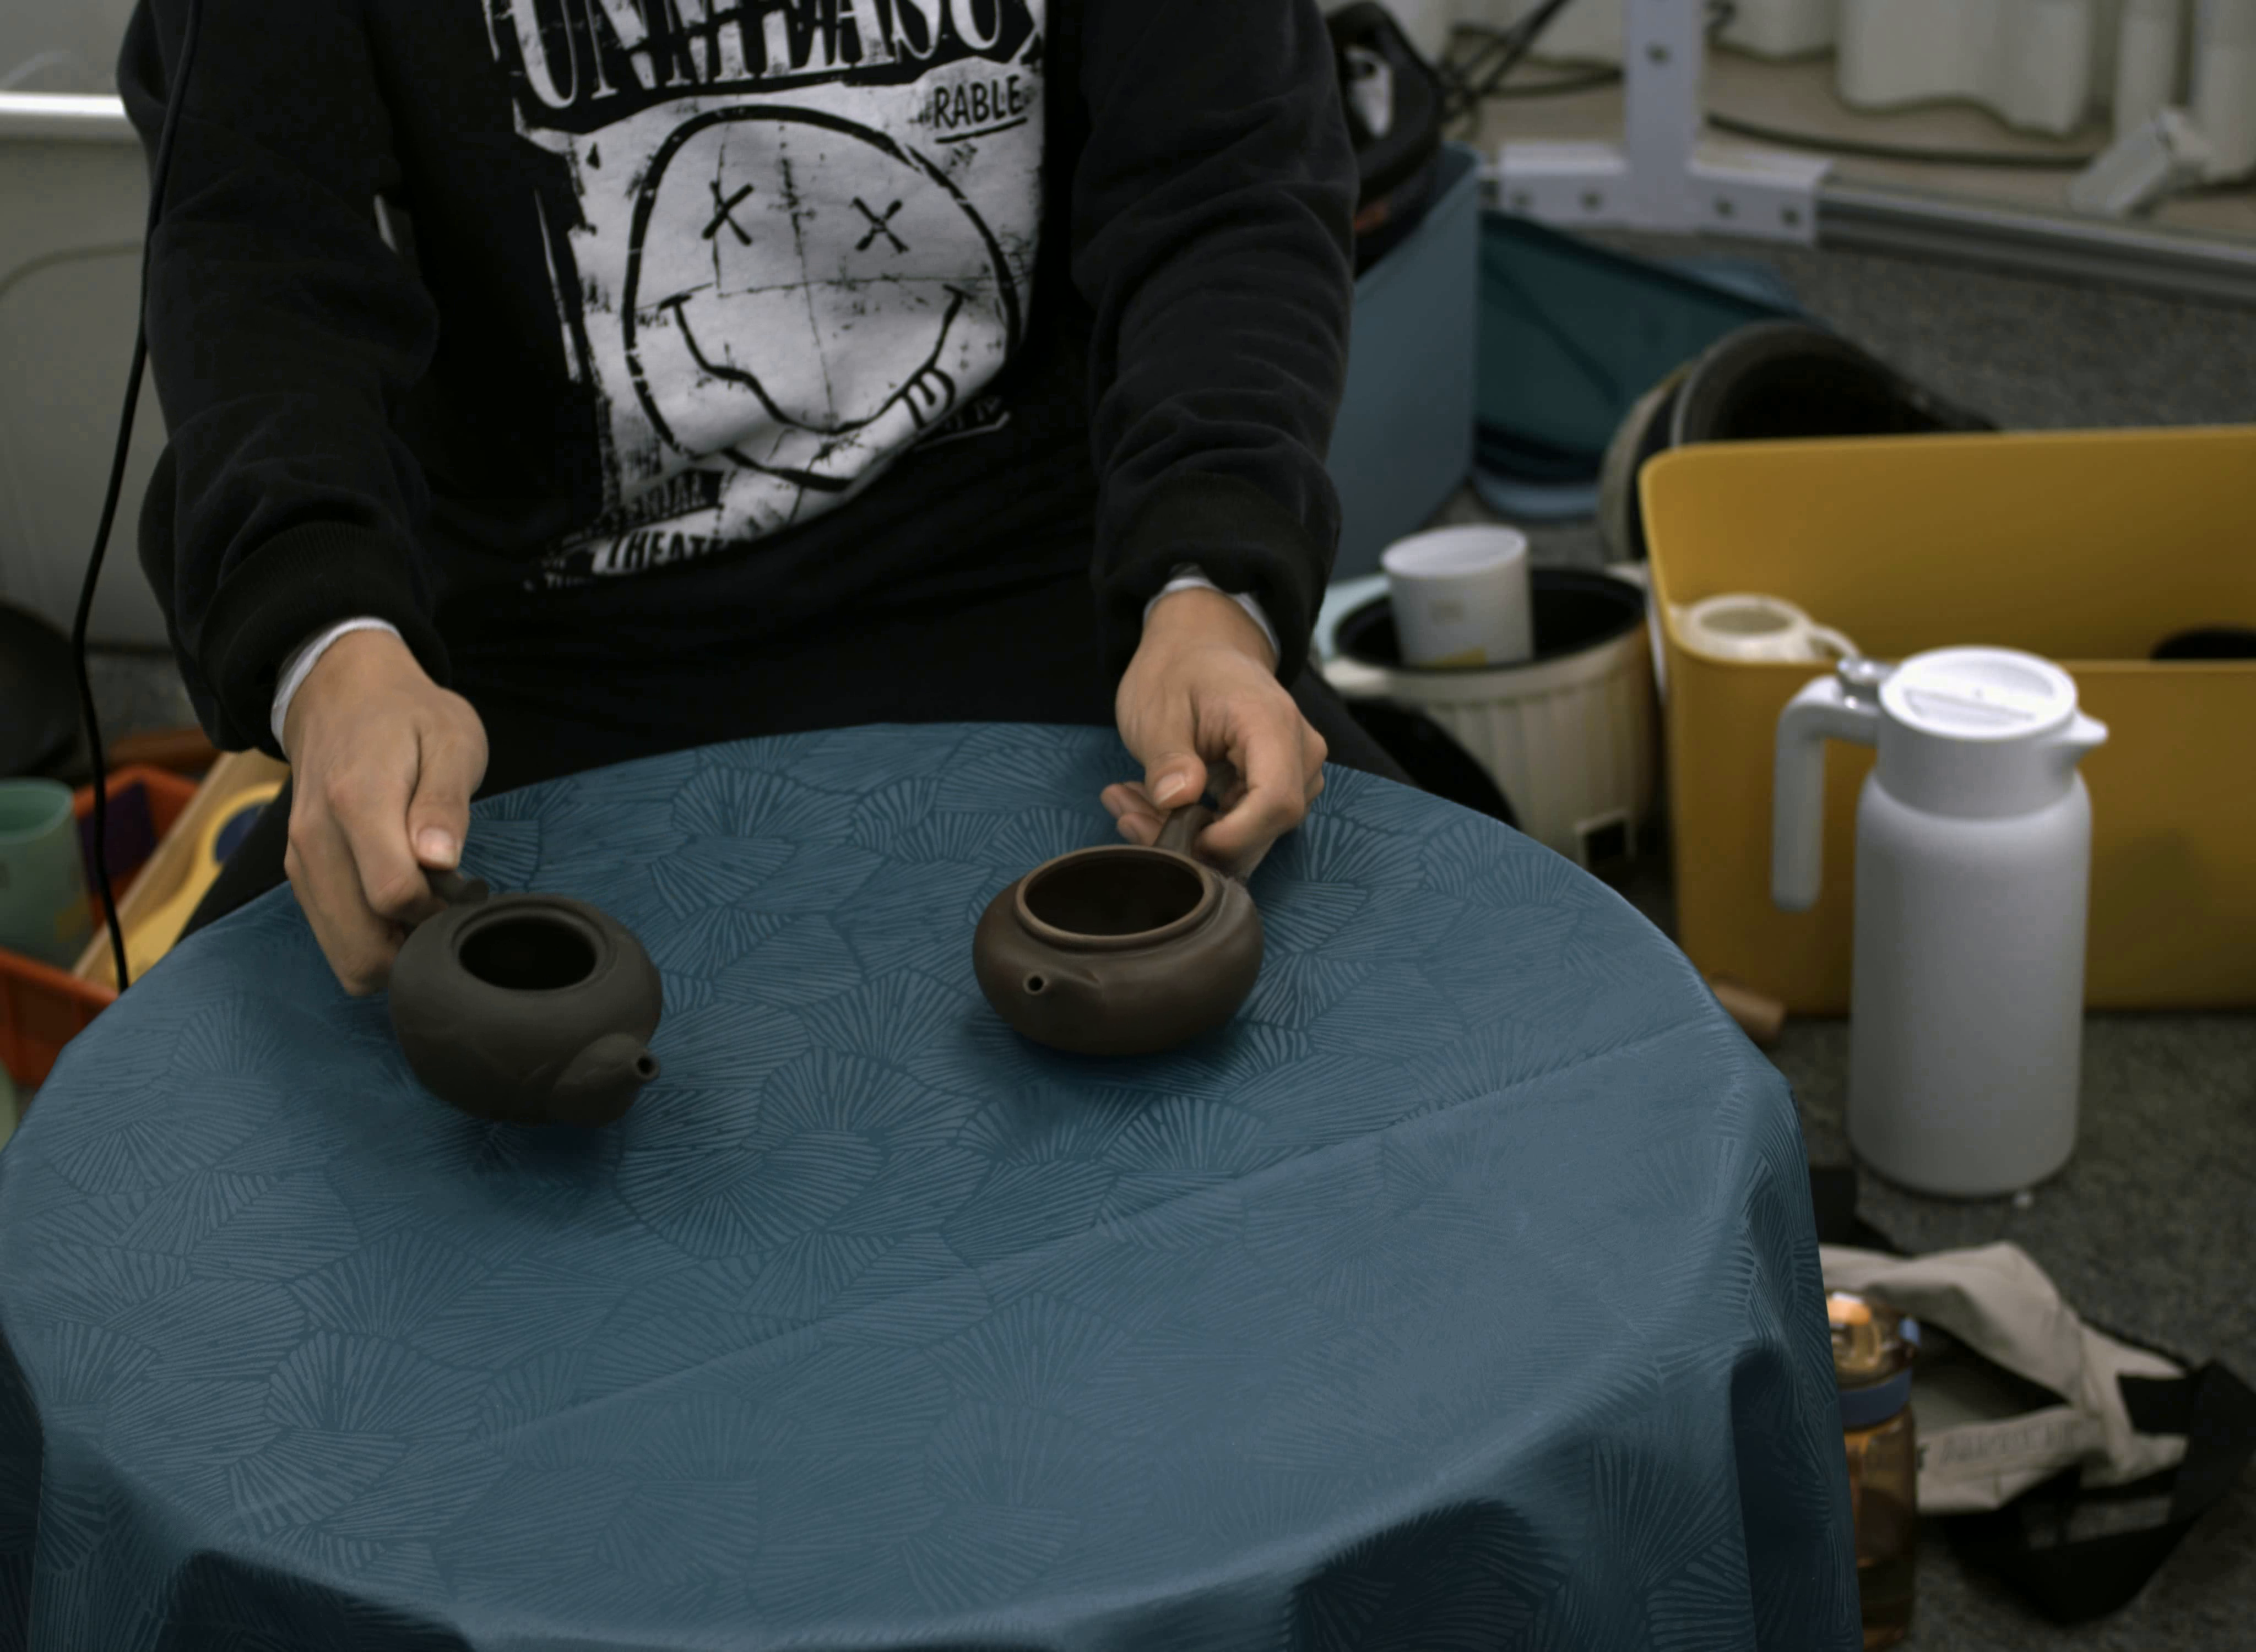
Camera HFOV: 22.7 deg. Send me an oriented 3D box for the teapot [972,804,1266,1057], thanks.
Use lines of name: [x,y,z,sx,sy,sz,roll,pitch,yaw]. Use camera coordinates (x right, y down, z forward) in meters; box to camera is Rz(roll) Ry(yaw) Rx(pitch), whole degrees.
teapot: [-0.002,0.040,1.959,0.102,0.053,0.156,7,29,15]

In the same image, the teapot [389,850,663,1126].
teapot: [-0.206,0.059,1.904,0.093,0.063,0.155,-14,38,-36]
